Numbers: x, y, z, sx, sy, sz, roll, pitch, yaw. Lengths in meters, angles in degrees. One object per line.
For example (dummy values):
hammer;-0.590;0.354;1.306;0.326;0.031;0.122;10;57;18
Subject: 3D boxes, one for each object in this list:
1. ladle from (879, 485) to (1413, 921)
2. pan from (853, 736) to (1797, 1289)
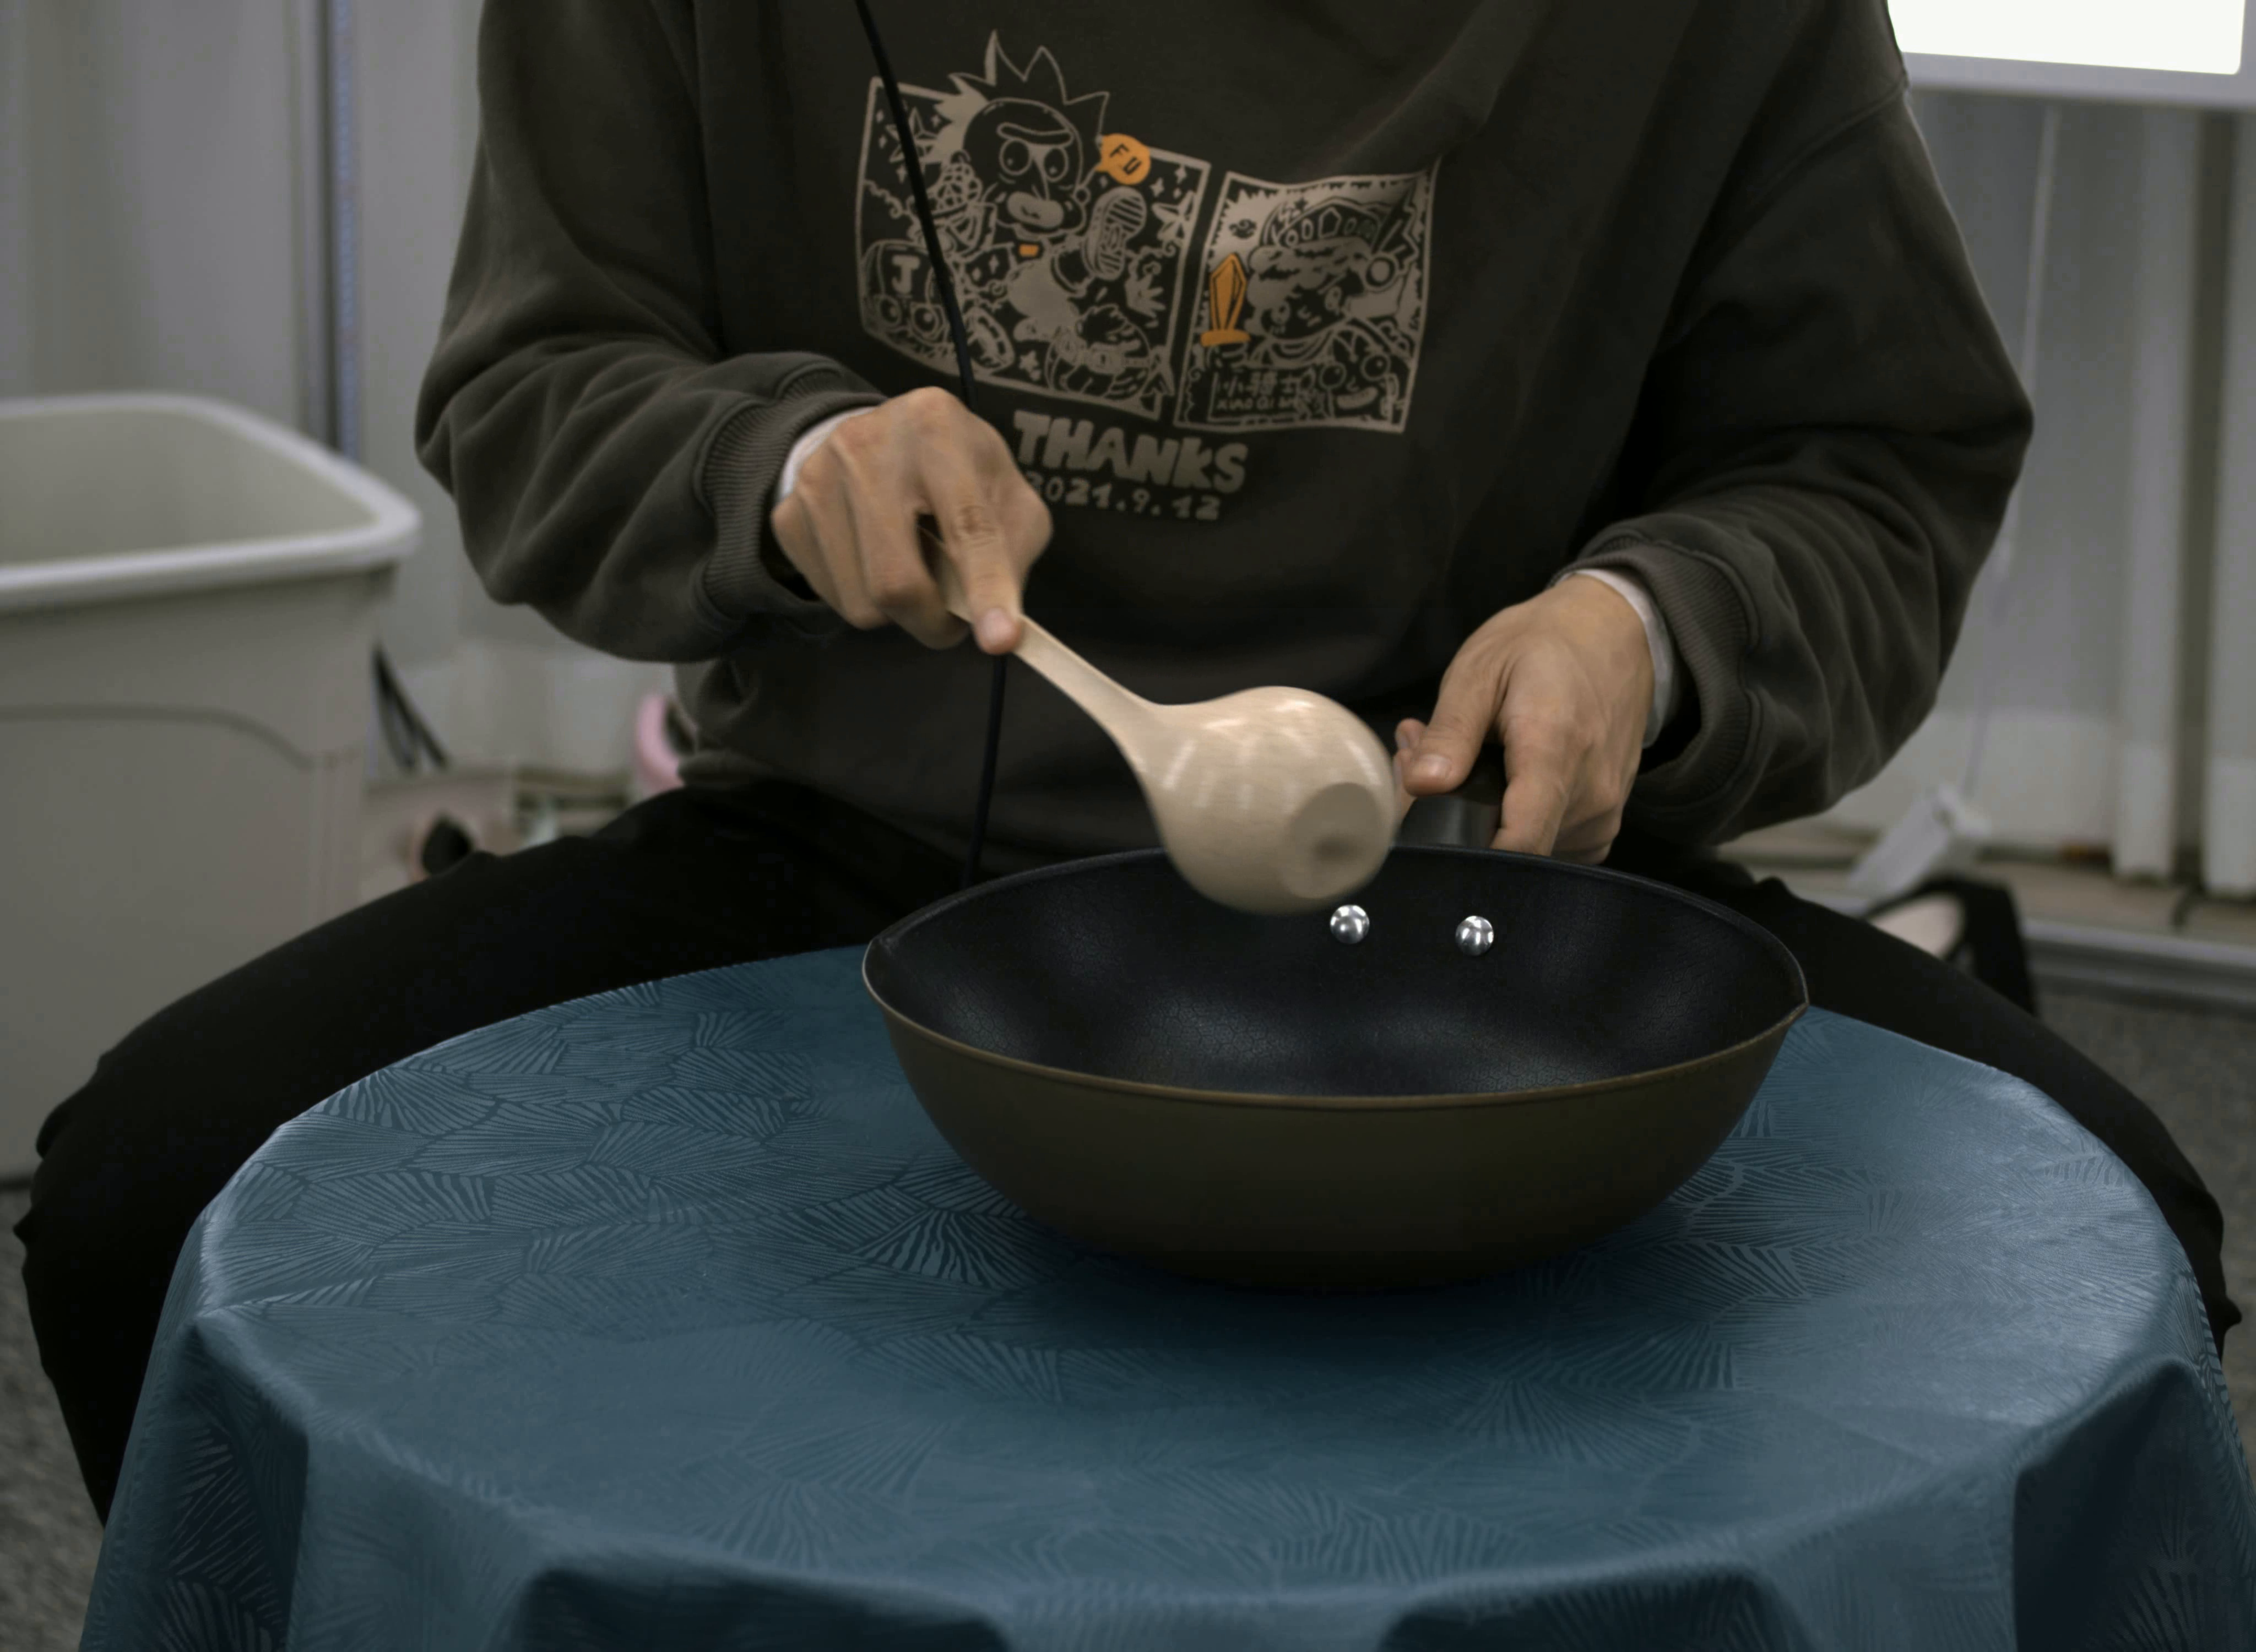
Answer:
ladle;0.004;-0.047;1.703;0.073;0.072;0.251;19;14;-38
pan;0.081;0.056;1.684;0.286;0.087;0.463;4;14;13
